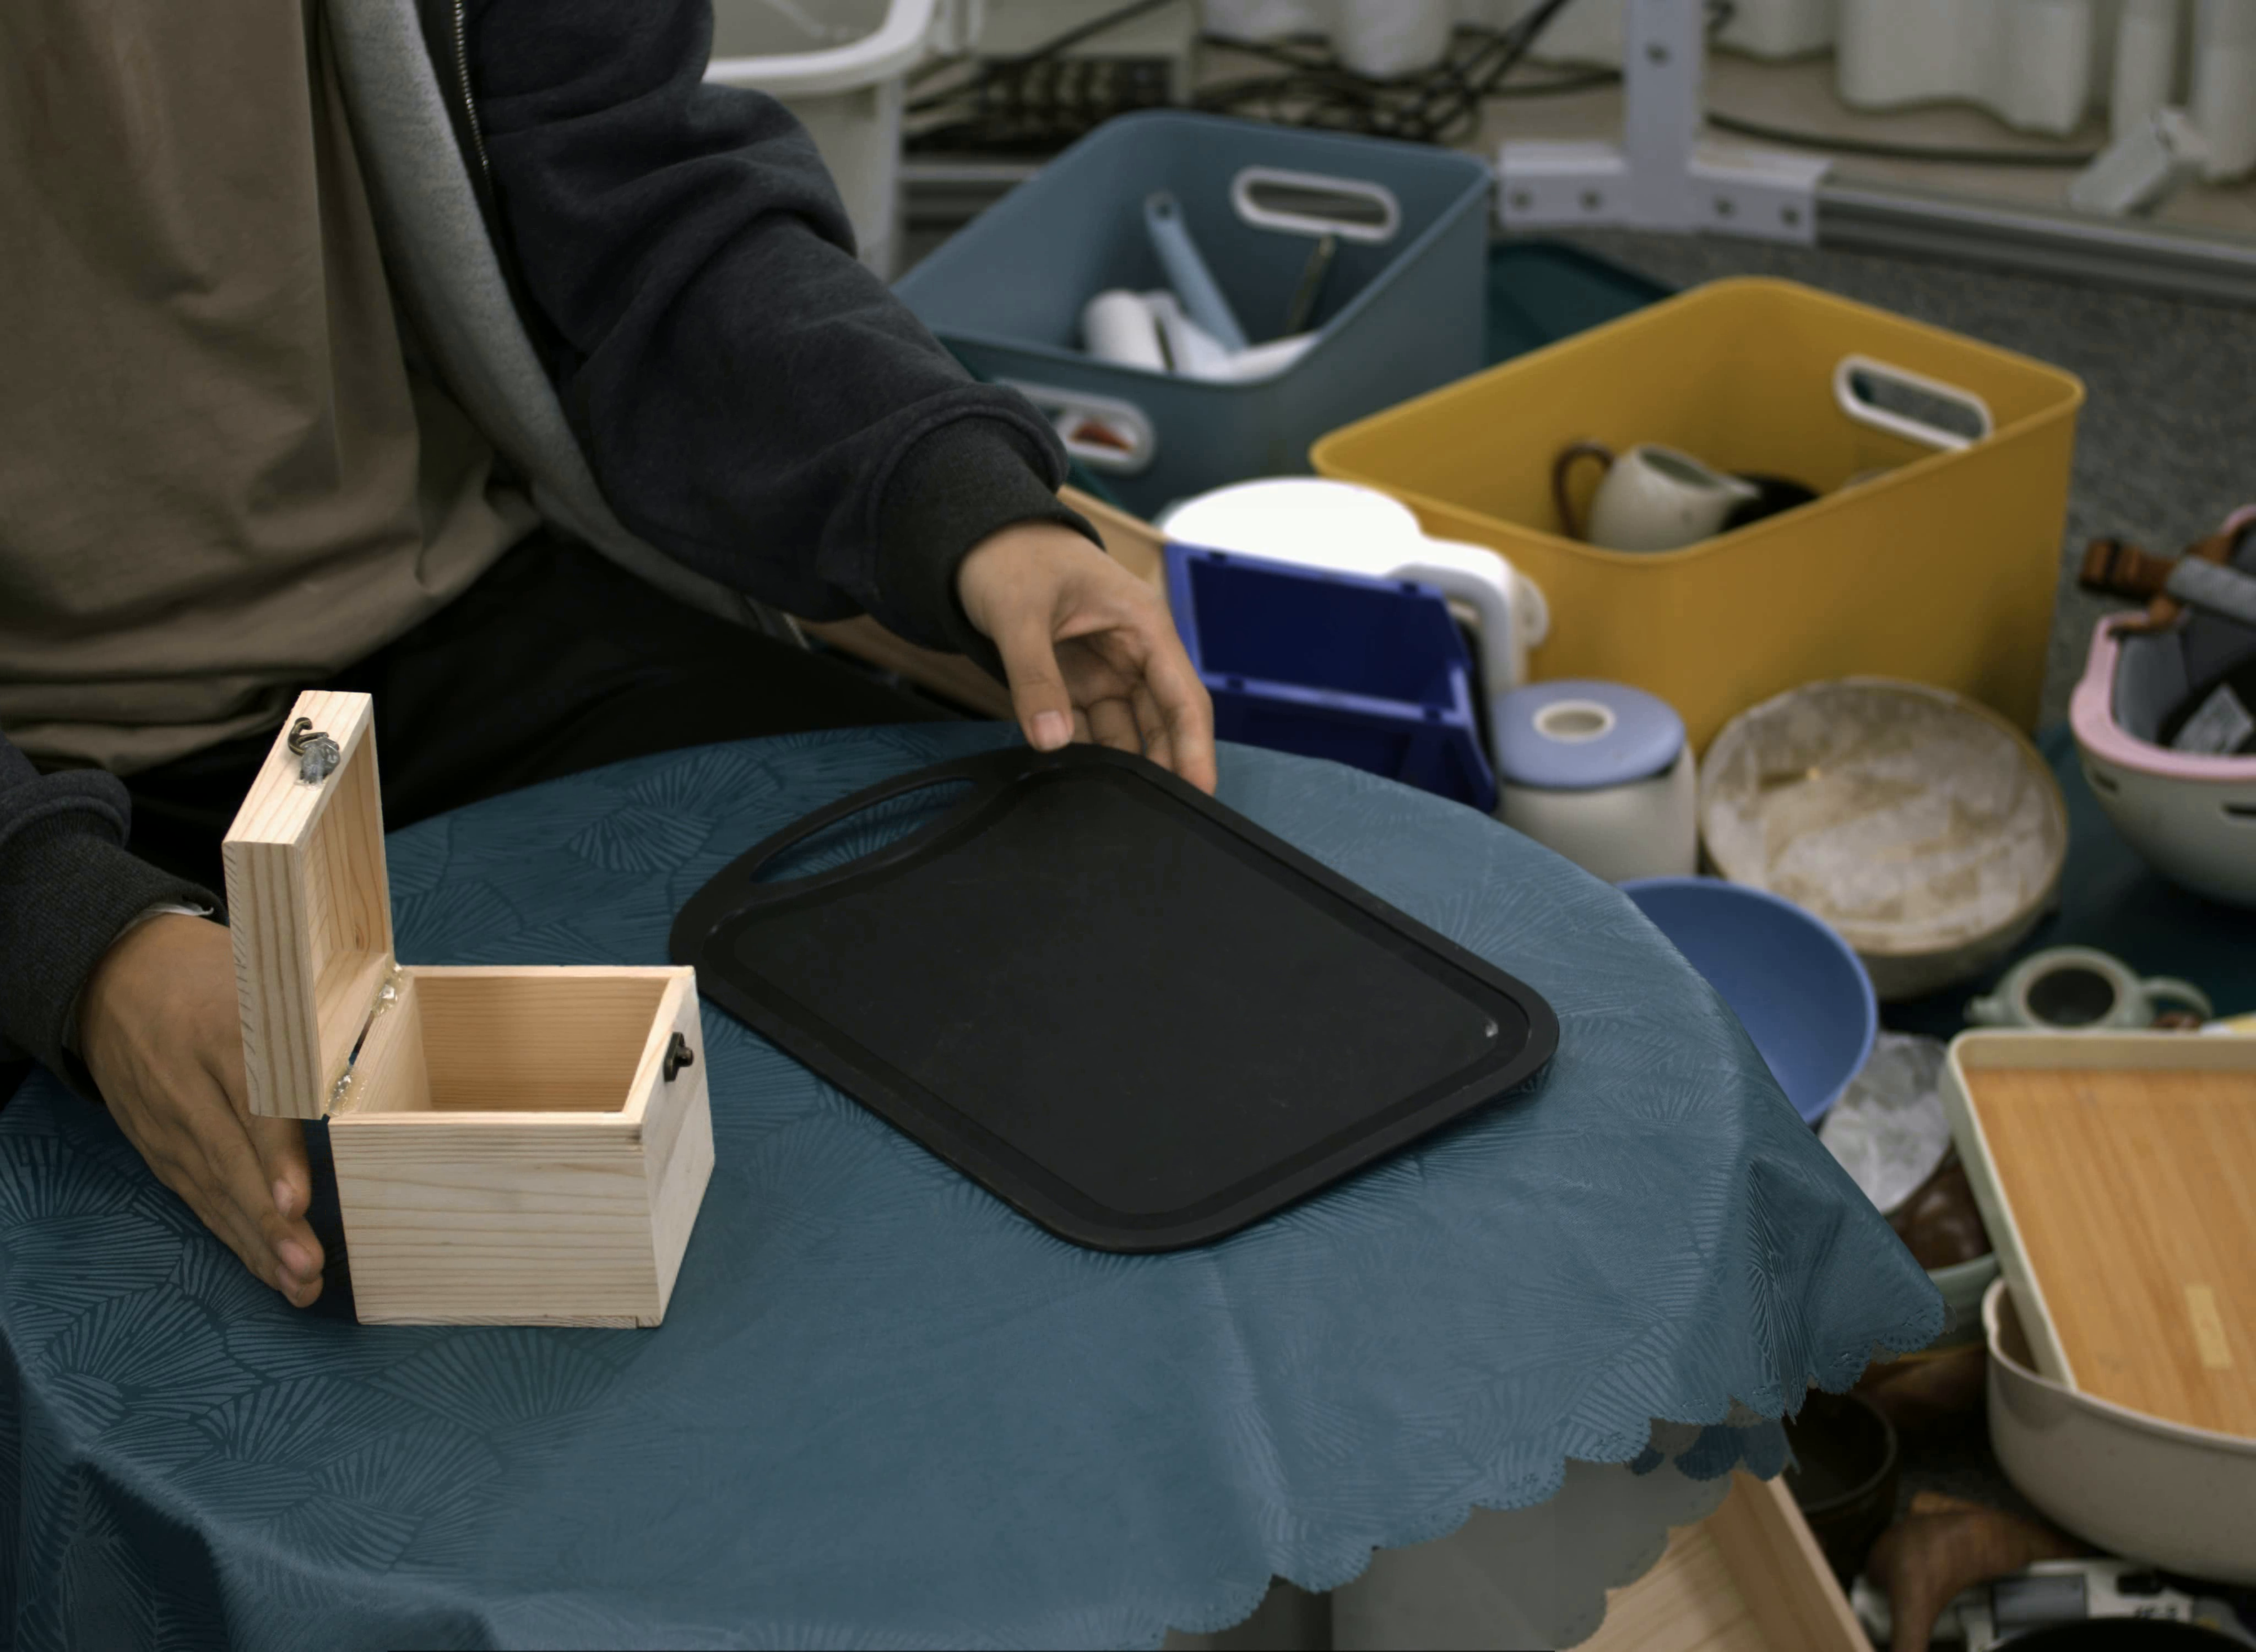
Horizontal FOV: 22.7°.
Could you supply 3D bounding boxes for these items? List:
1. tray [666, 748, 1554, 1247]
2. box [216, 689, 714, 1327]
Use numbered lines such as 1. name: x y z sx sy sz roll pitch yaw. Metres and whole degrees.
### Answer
1. tray: -0.016 0.051 1.978 0.213 0.009 0.326 -24 35 -29
2. box: -0.209 0.058 1.809 0.133 0.182 0.104 -2 27 6
